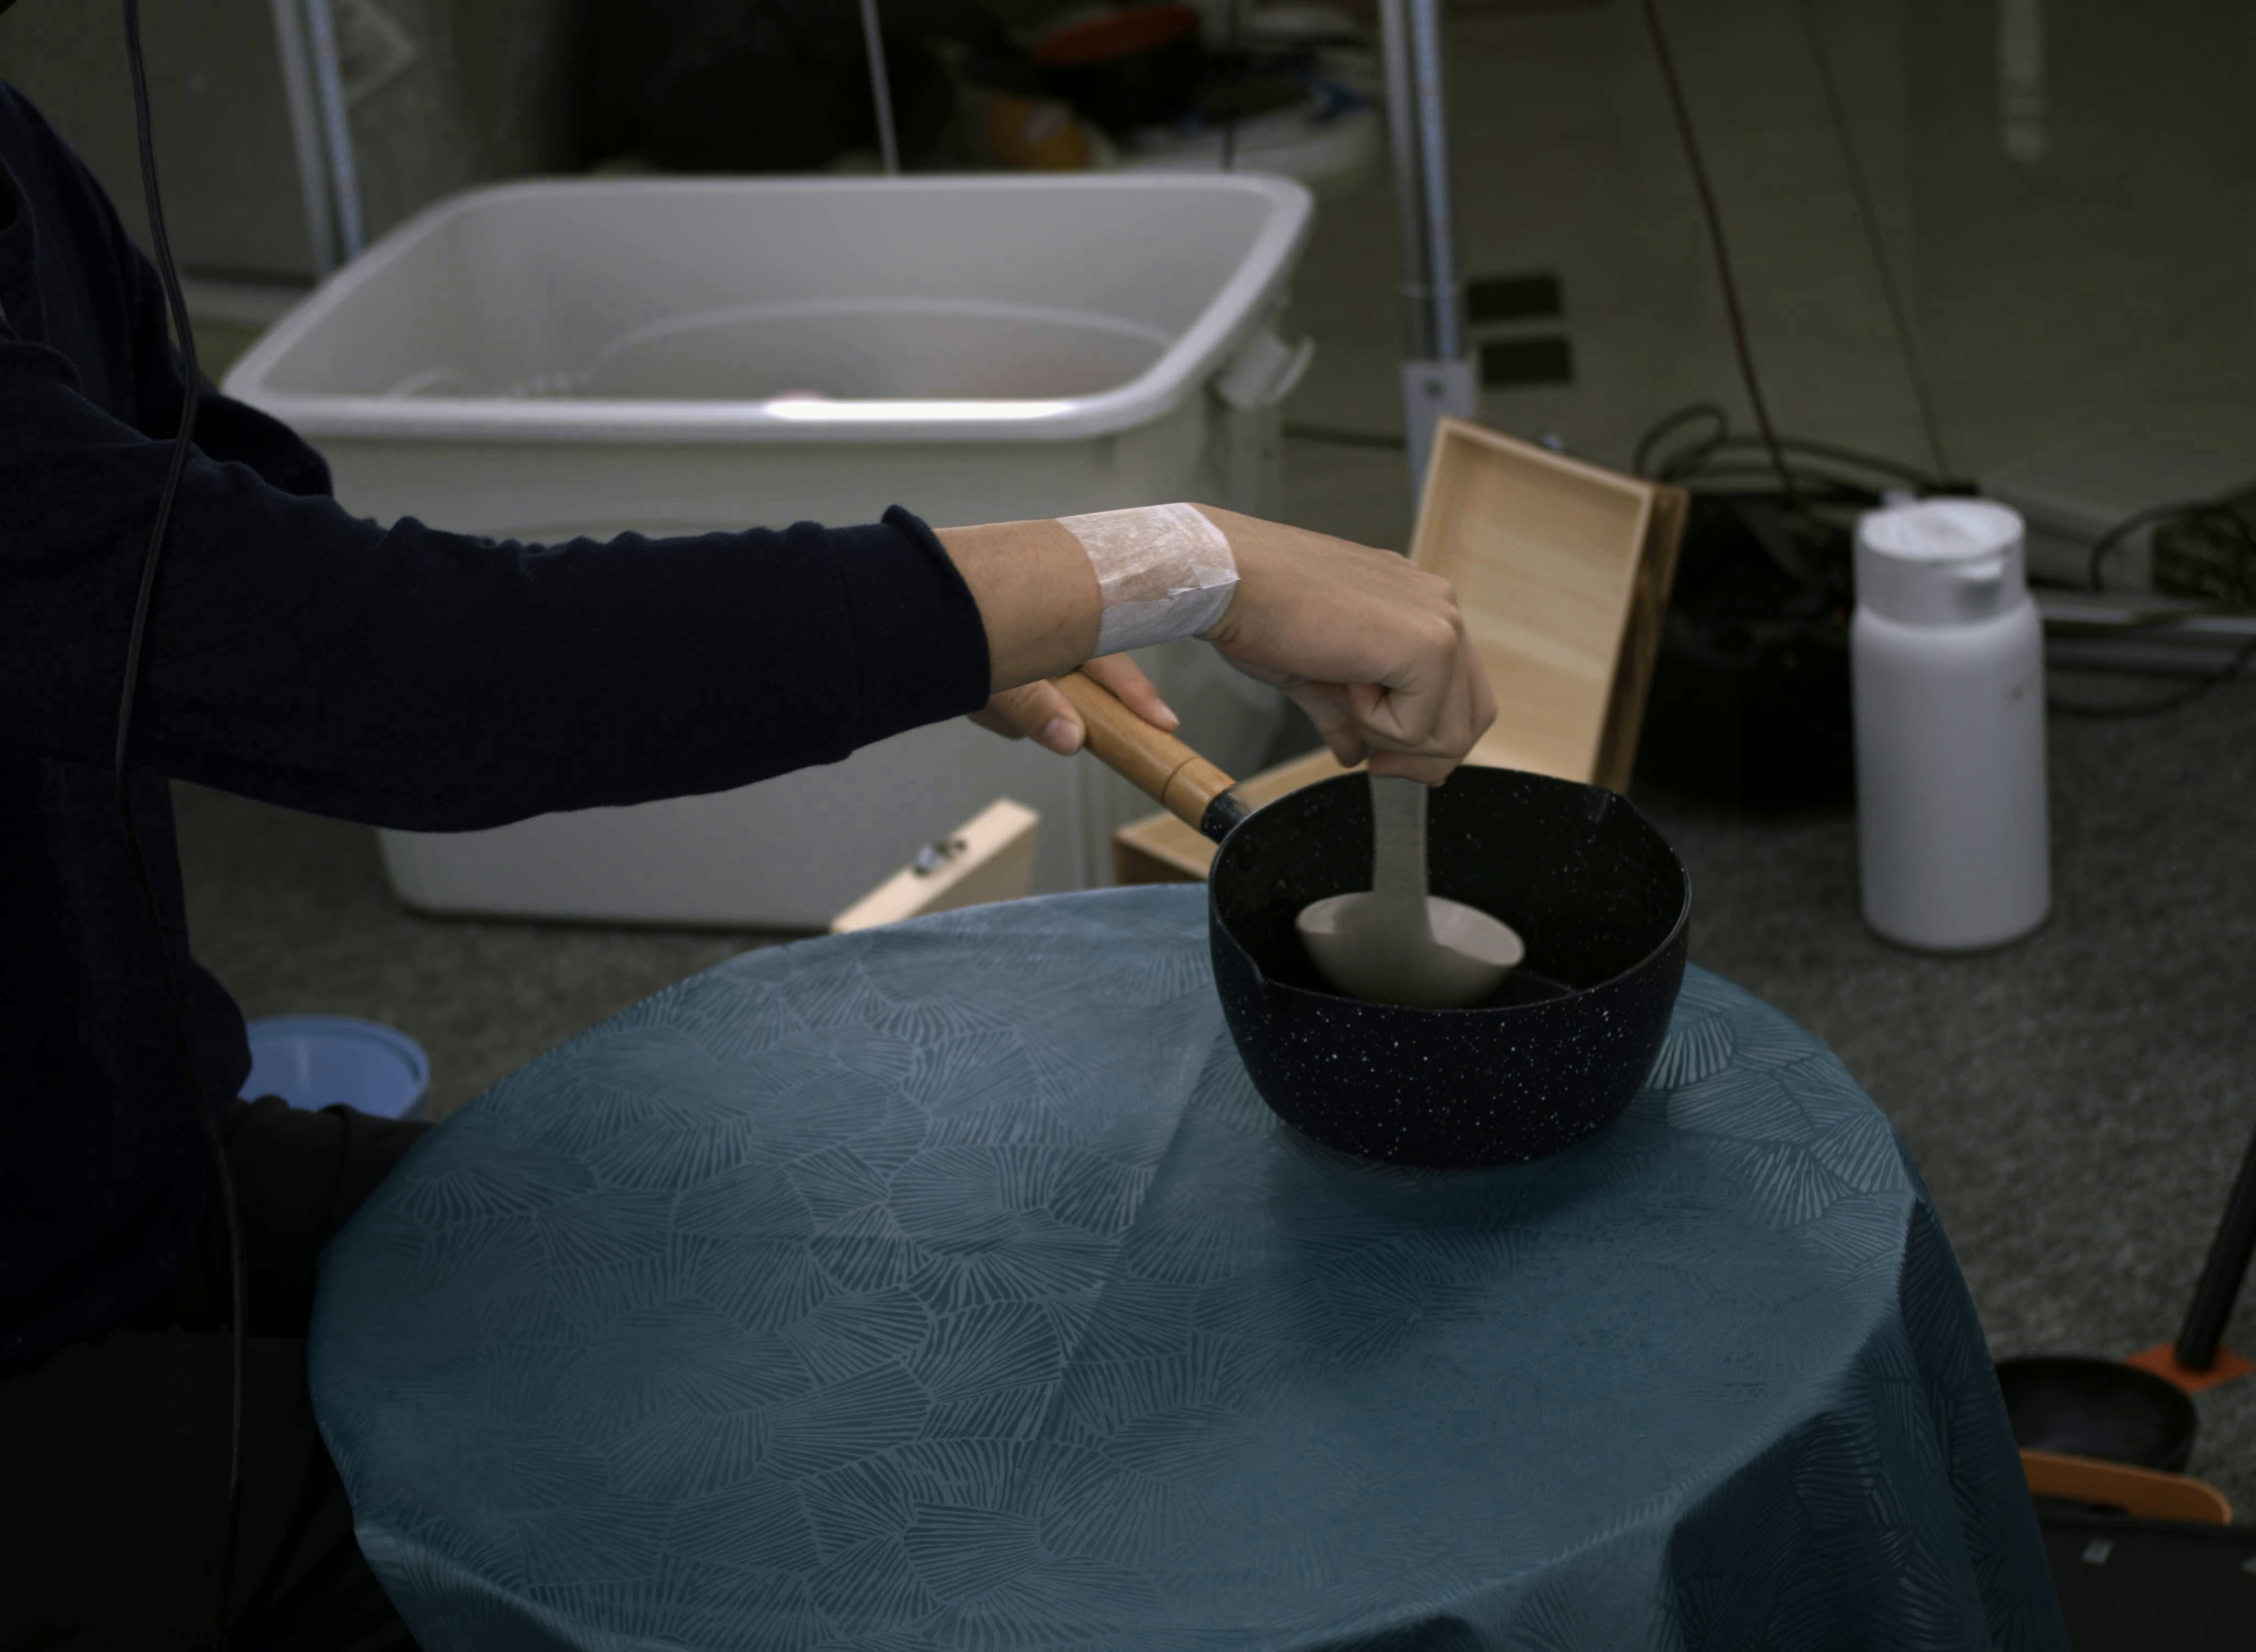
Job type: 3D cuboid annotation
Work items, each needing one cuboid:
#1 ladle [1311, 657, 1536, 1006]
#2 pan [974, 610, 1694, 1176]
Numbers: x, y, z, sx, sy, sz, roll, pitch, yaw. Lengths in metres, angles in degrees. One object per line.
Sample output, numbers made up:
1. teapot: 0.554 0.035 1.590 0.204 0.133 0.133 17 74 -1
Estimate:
1. ladle: 0.109 -0.013 2.115 0.089 0.279 0.068 14 61 12
2. pan: 0.064 0.020 2.210 0.339 0.110 0.205 26 41 35
